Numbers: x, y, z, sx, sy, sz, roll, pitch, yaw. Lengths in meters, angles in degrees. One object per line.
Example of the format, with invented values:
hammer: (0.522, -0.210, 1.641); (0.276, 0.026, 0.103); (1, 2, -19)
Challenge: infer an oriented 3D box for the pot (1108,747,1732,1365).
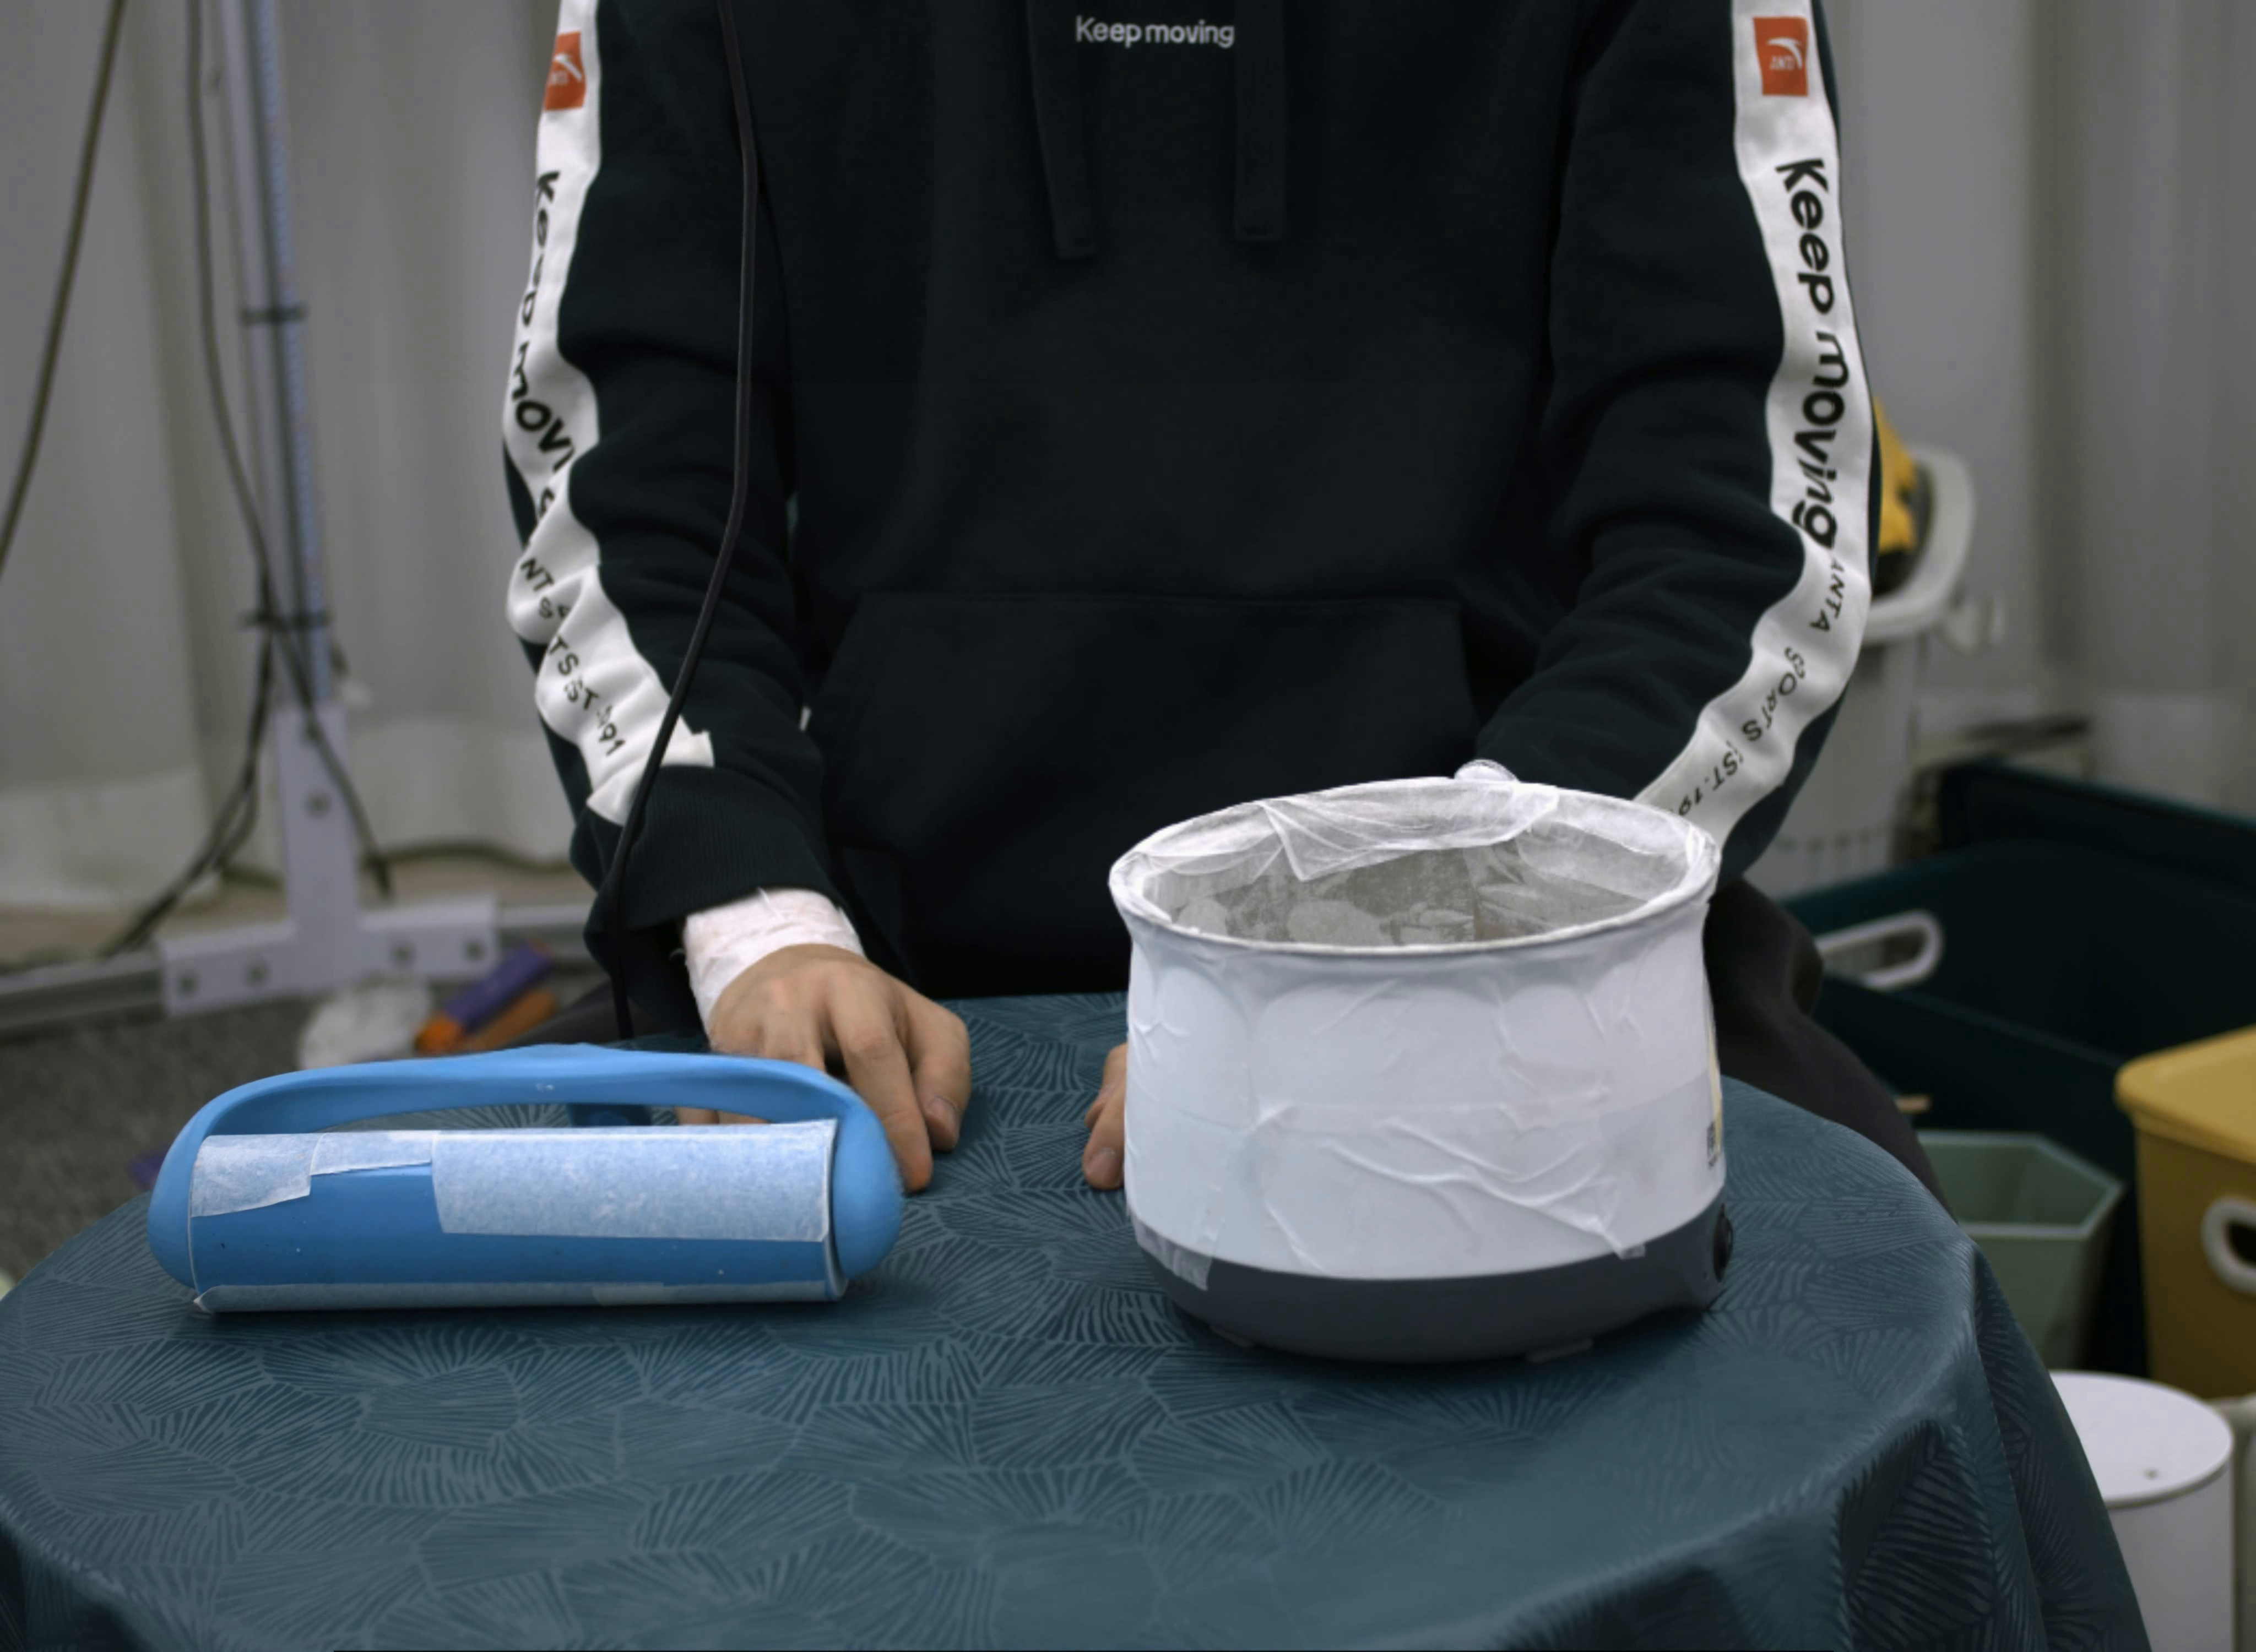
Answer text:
pot: (0.092, 0.062, 1.619); (0.178, 0.136, 0.235); (1, 17, 14)

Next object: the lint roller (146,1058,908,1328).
lint roller: (-0.179, 0.102, 1.690); (0.228, 0.067, 0.181); (-4, 16, 2)
